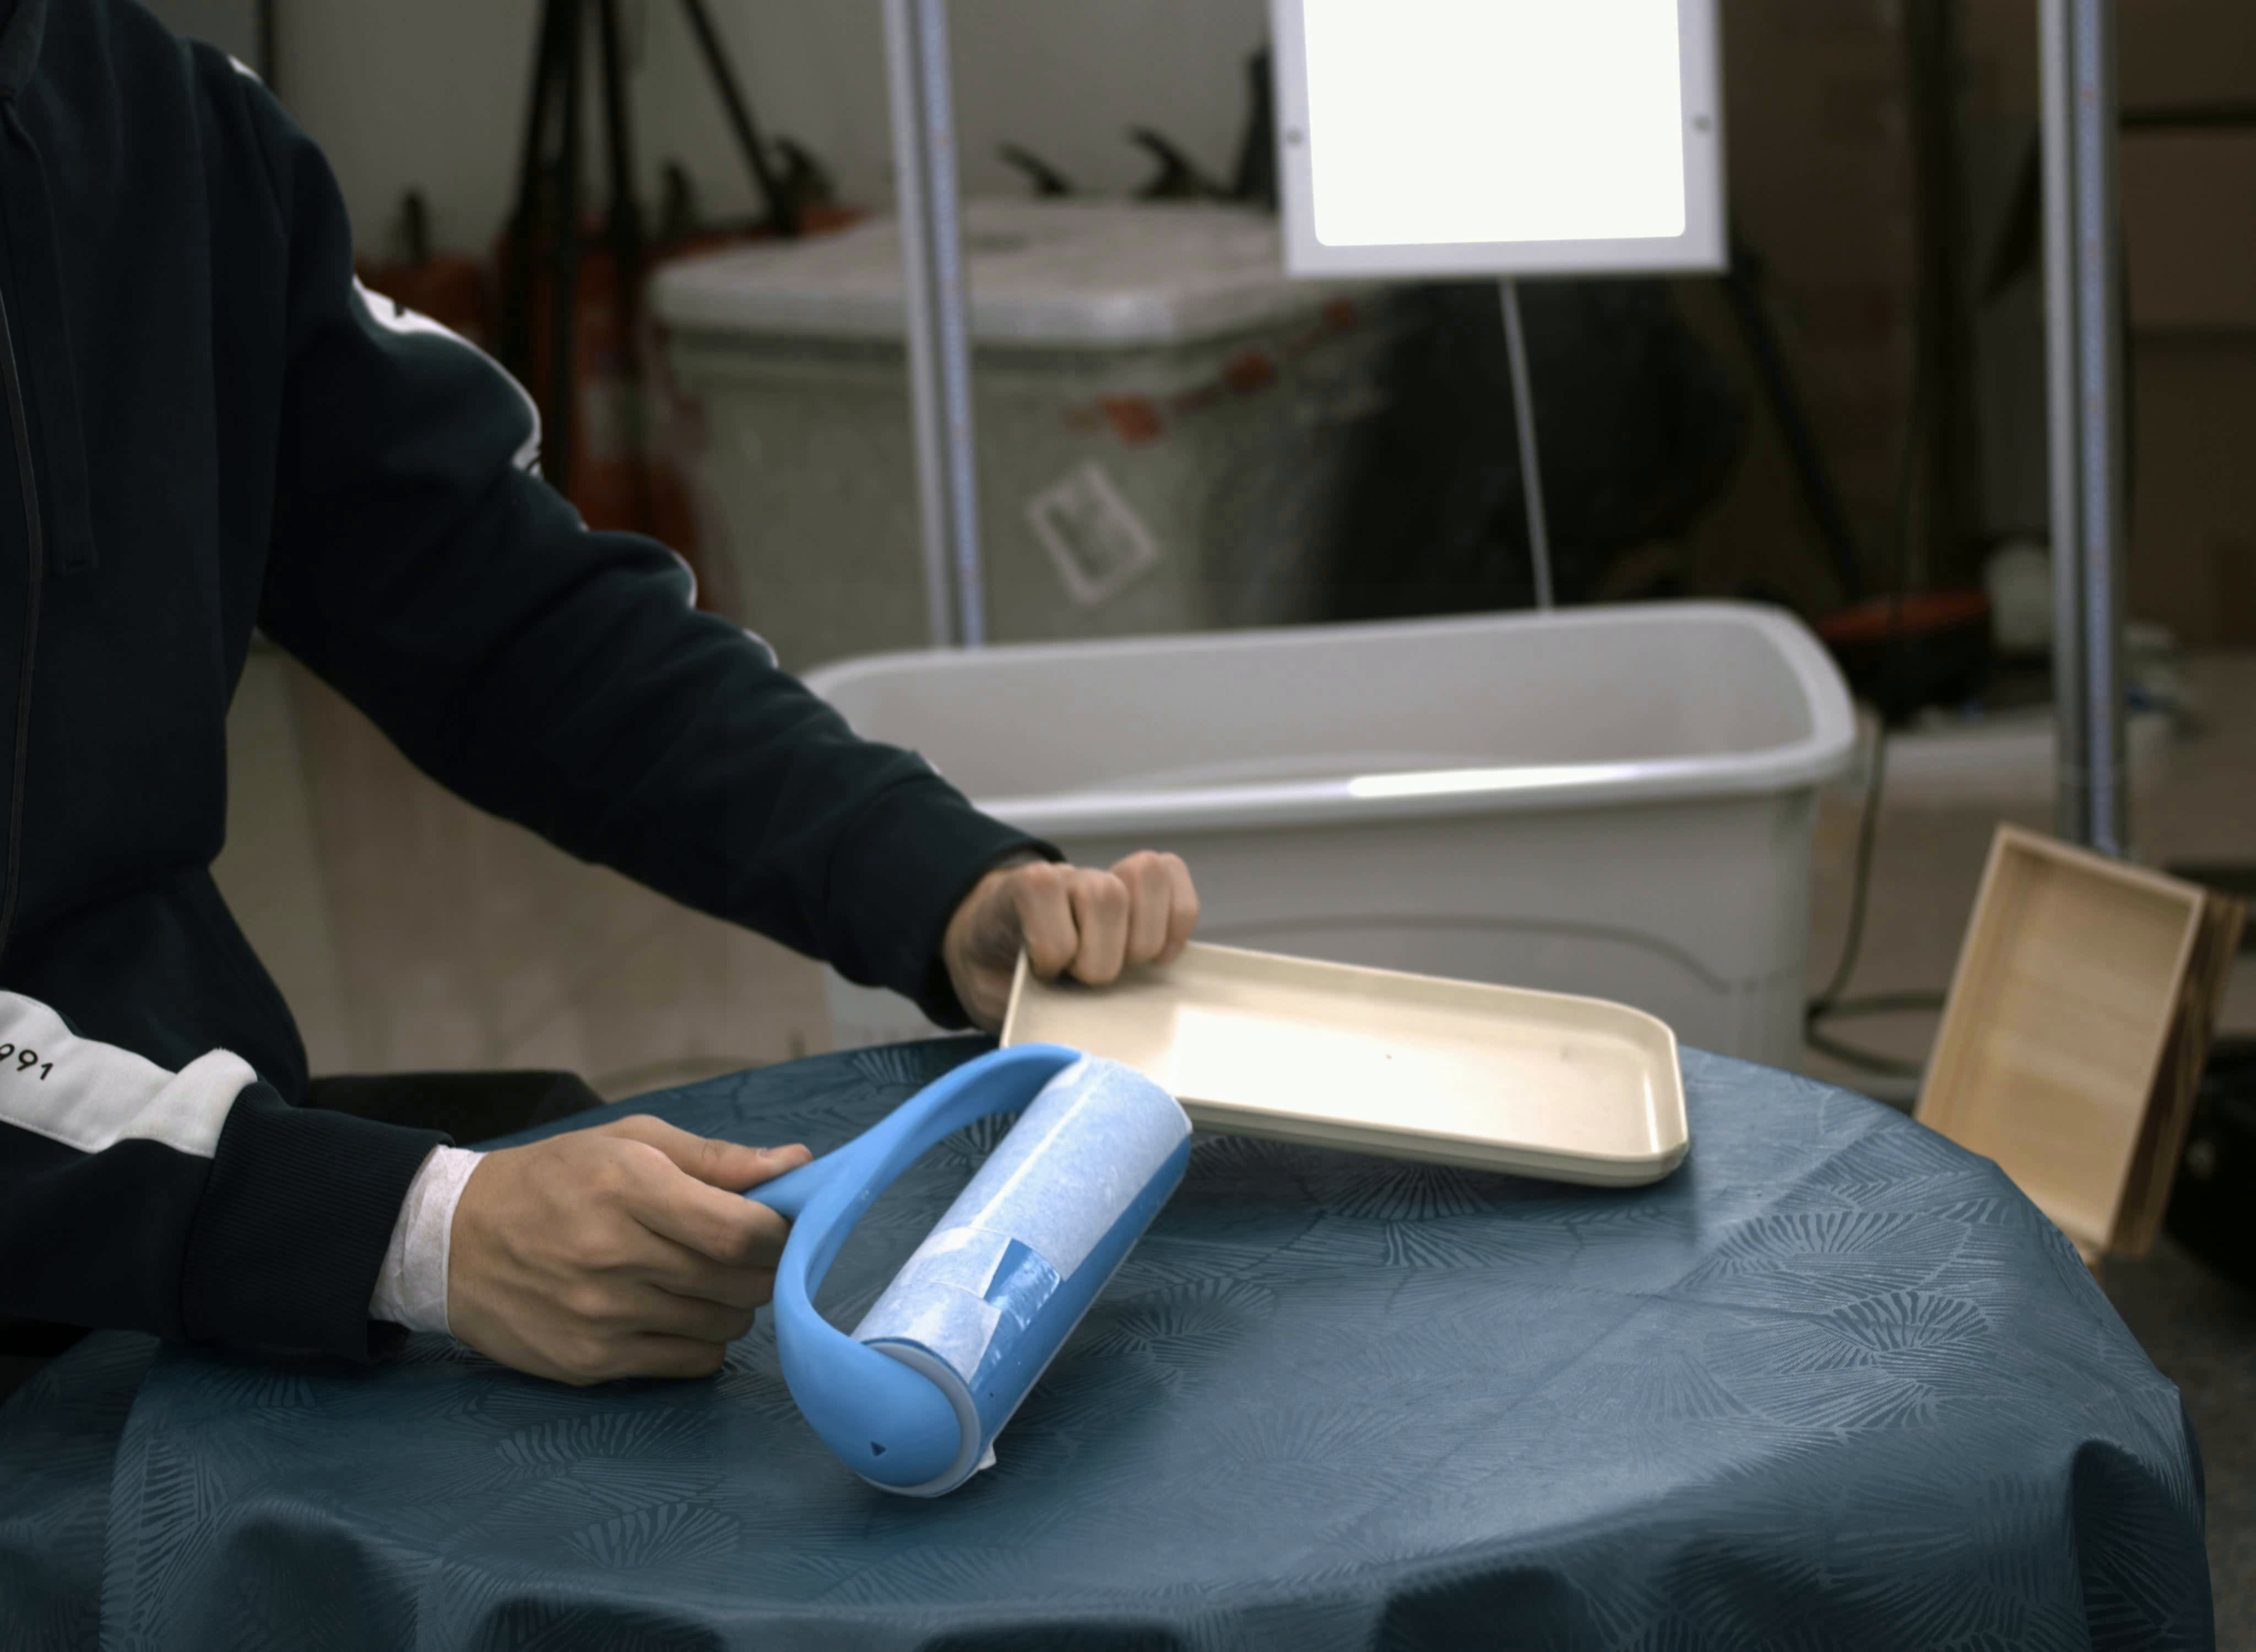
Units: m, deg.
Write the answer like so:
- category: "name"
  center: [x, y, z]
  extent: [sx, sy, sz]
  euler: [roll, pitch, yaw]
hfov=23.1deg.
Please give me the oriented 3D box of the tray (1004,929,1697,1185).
- category: "tray"
  center: [0.077, 0.081, 1.918]
  extent: [0.239, 0.017, 0.170]
  euler: [8, 16, 2]

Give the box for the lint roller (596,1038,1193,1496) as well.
- category: "lint roller"
  center: [-0.090, 0.137, 1.718]
  extent: [0.183, 0.068, 0.225]
  euler: [-4, 24, 20]
